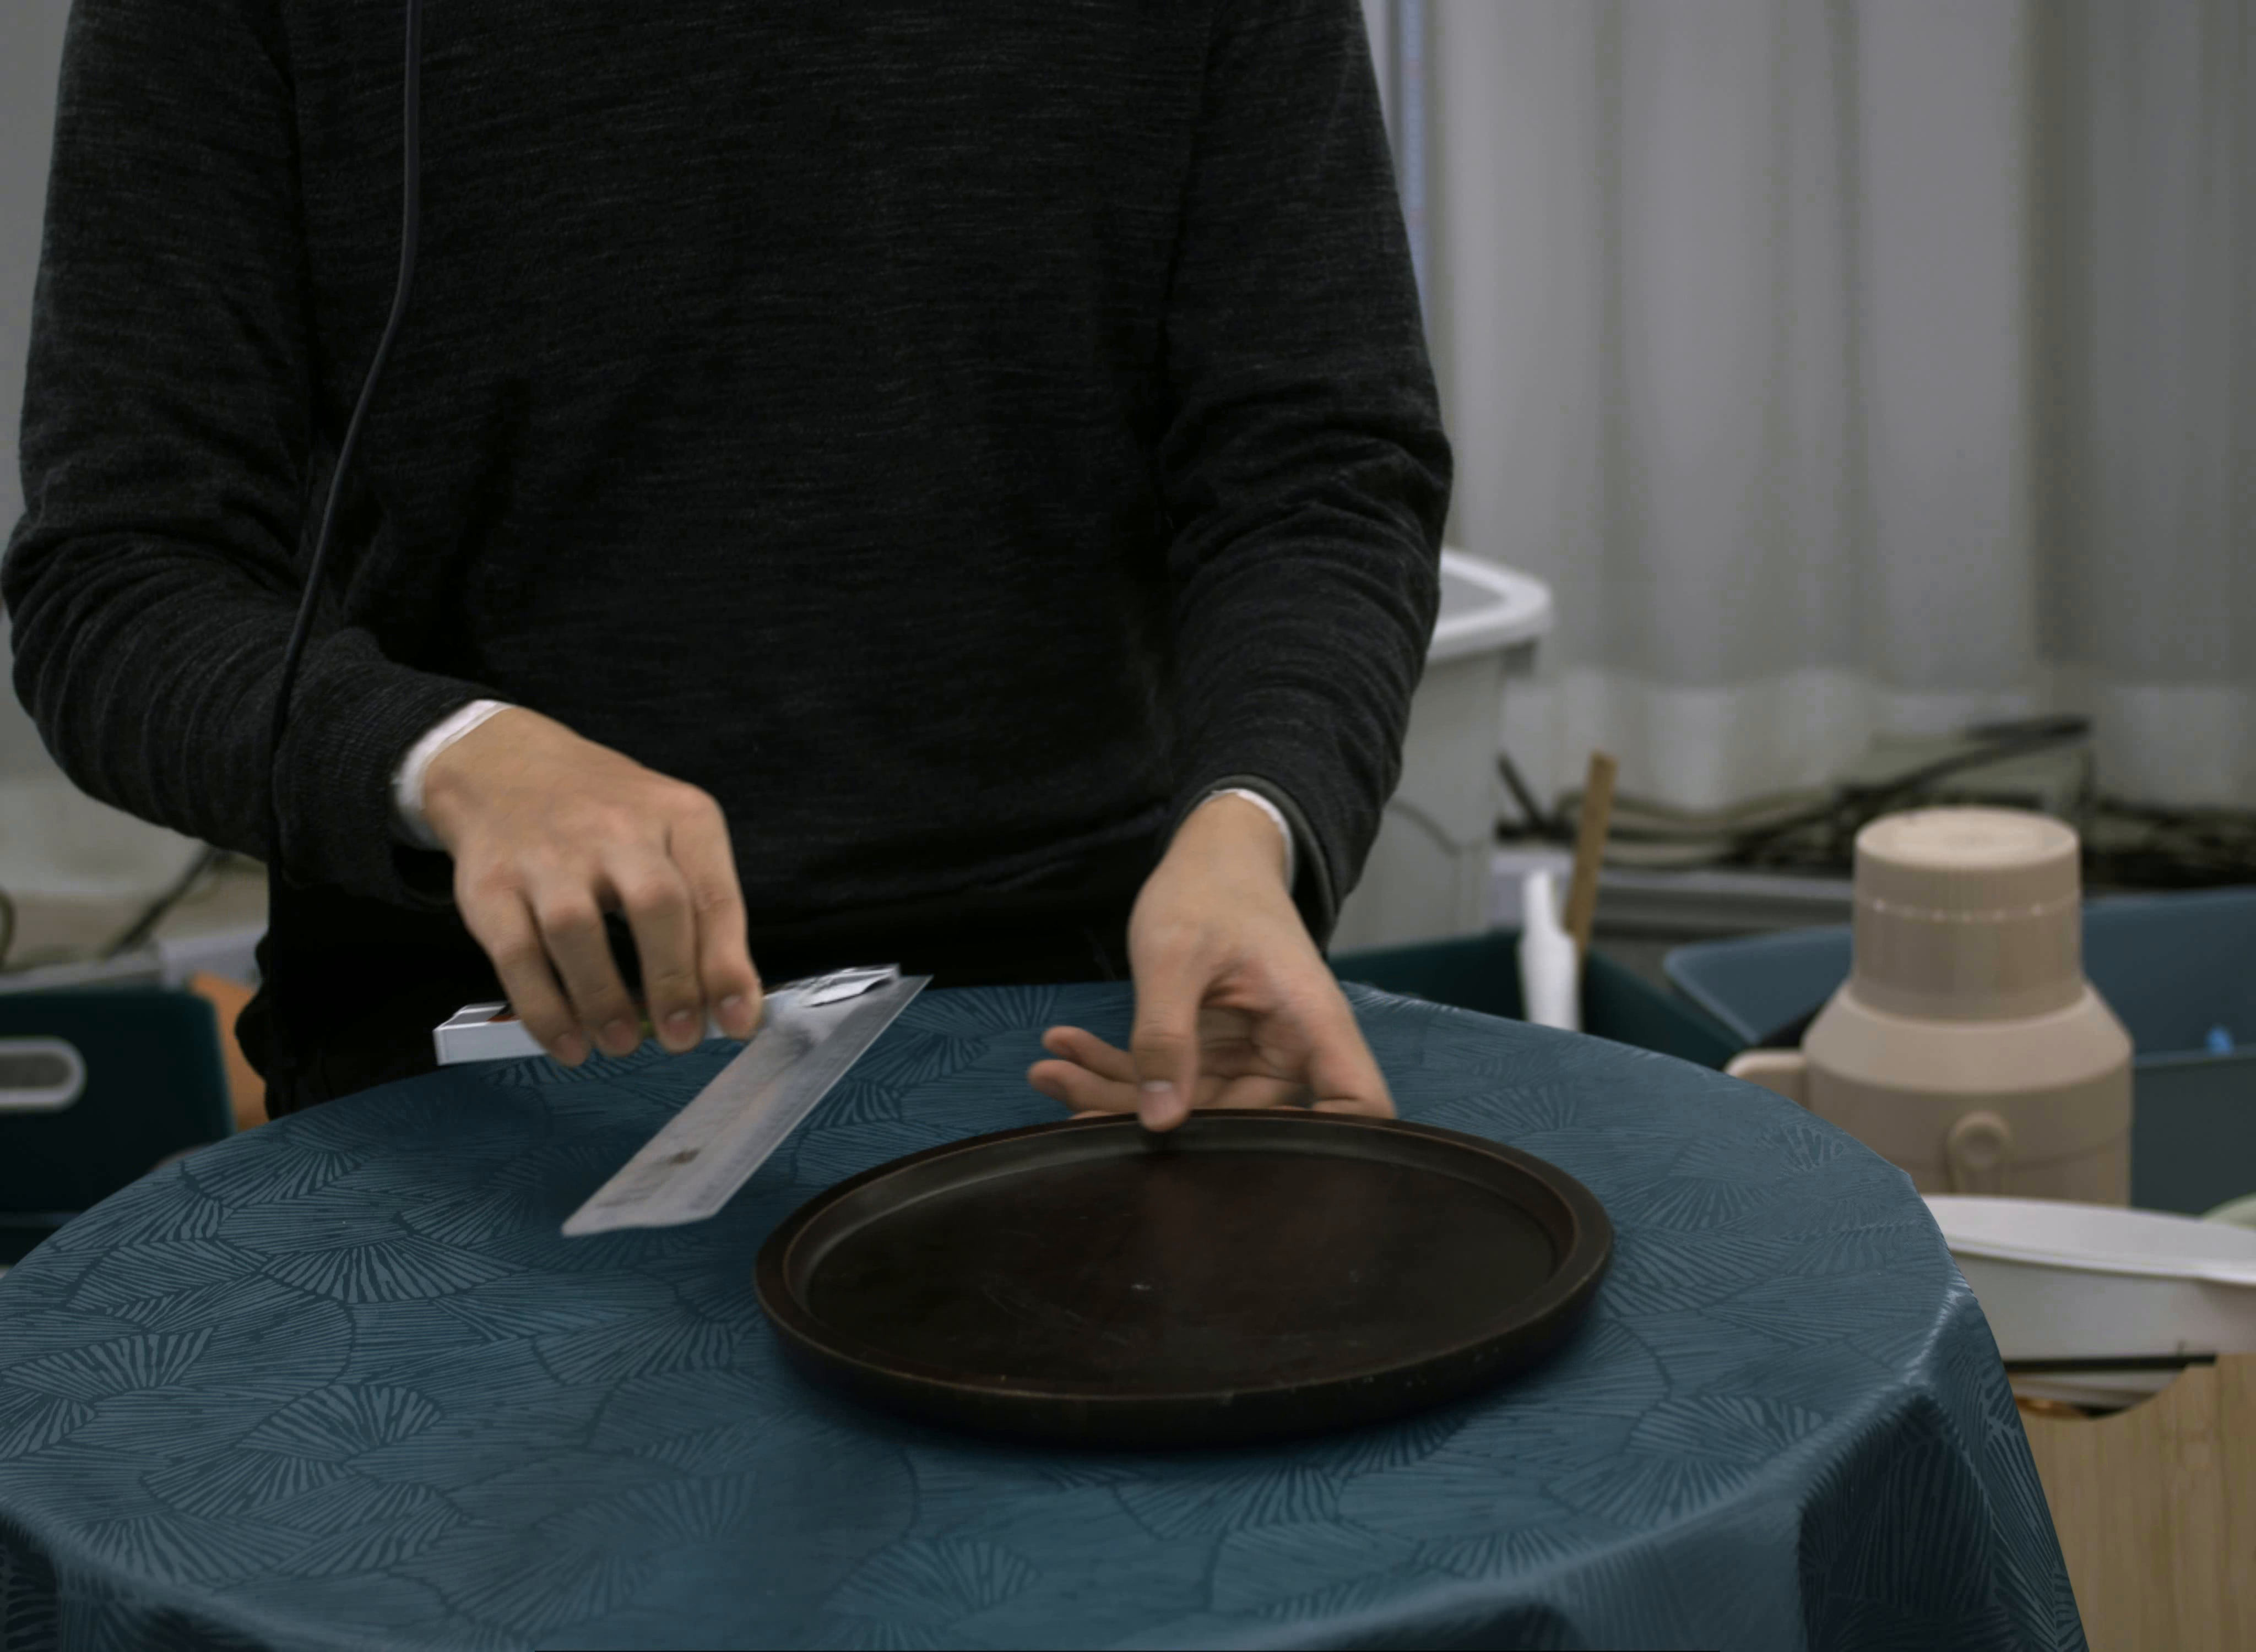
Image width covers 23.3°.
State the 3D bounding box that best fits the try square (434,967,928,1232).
[{"bbox_3d":[-0.157,0.082,1.558,0.152,0.016,0.314,-7,8,9],"label":"try square"}]

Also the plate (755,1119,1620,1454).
[{"bbox_3d":[0.018,0.132,1.602,0.254,0.029,0.256,-3,16,0],"label":"plate"}]
